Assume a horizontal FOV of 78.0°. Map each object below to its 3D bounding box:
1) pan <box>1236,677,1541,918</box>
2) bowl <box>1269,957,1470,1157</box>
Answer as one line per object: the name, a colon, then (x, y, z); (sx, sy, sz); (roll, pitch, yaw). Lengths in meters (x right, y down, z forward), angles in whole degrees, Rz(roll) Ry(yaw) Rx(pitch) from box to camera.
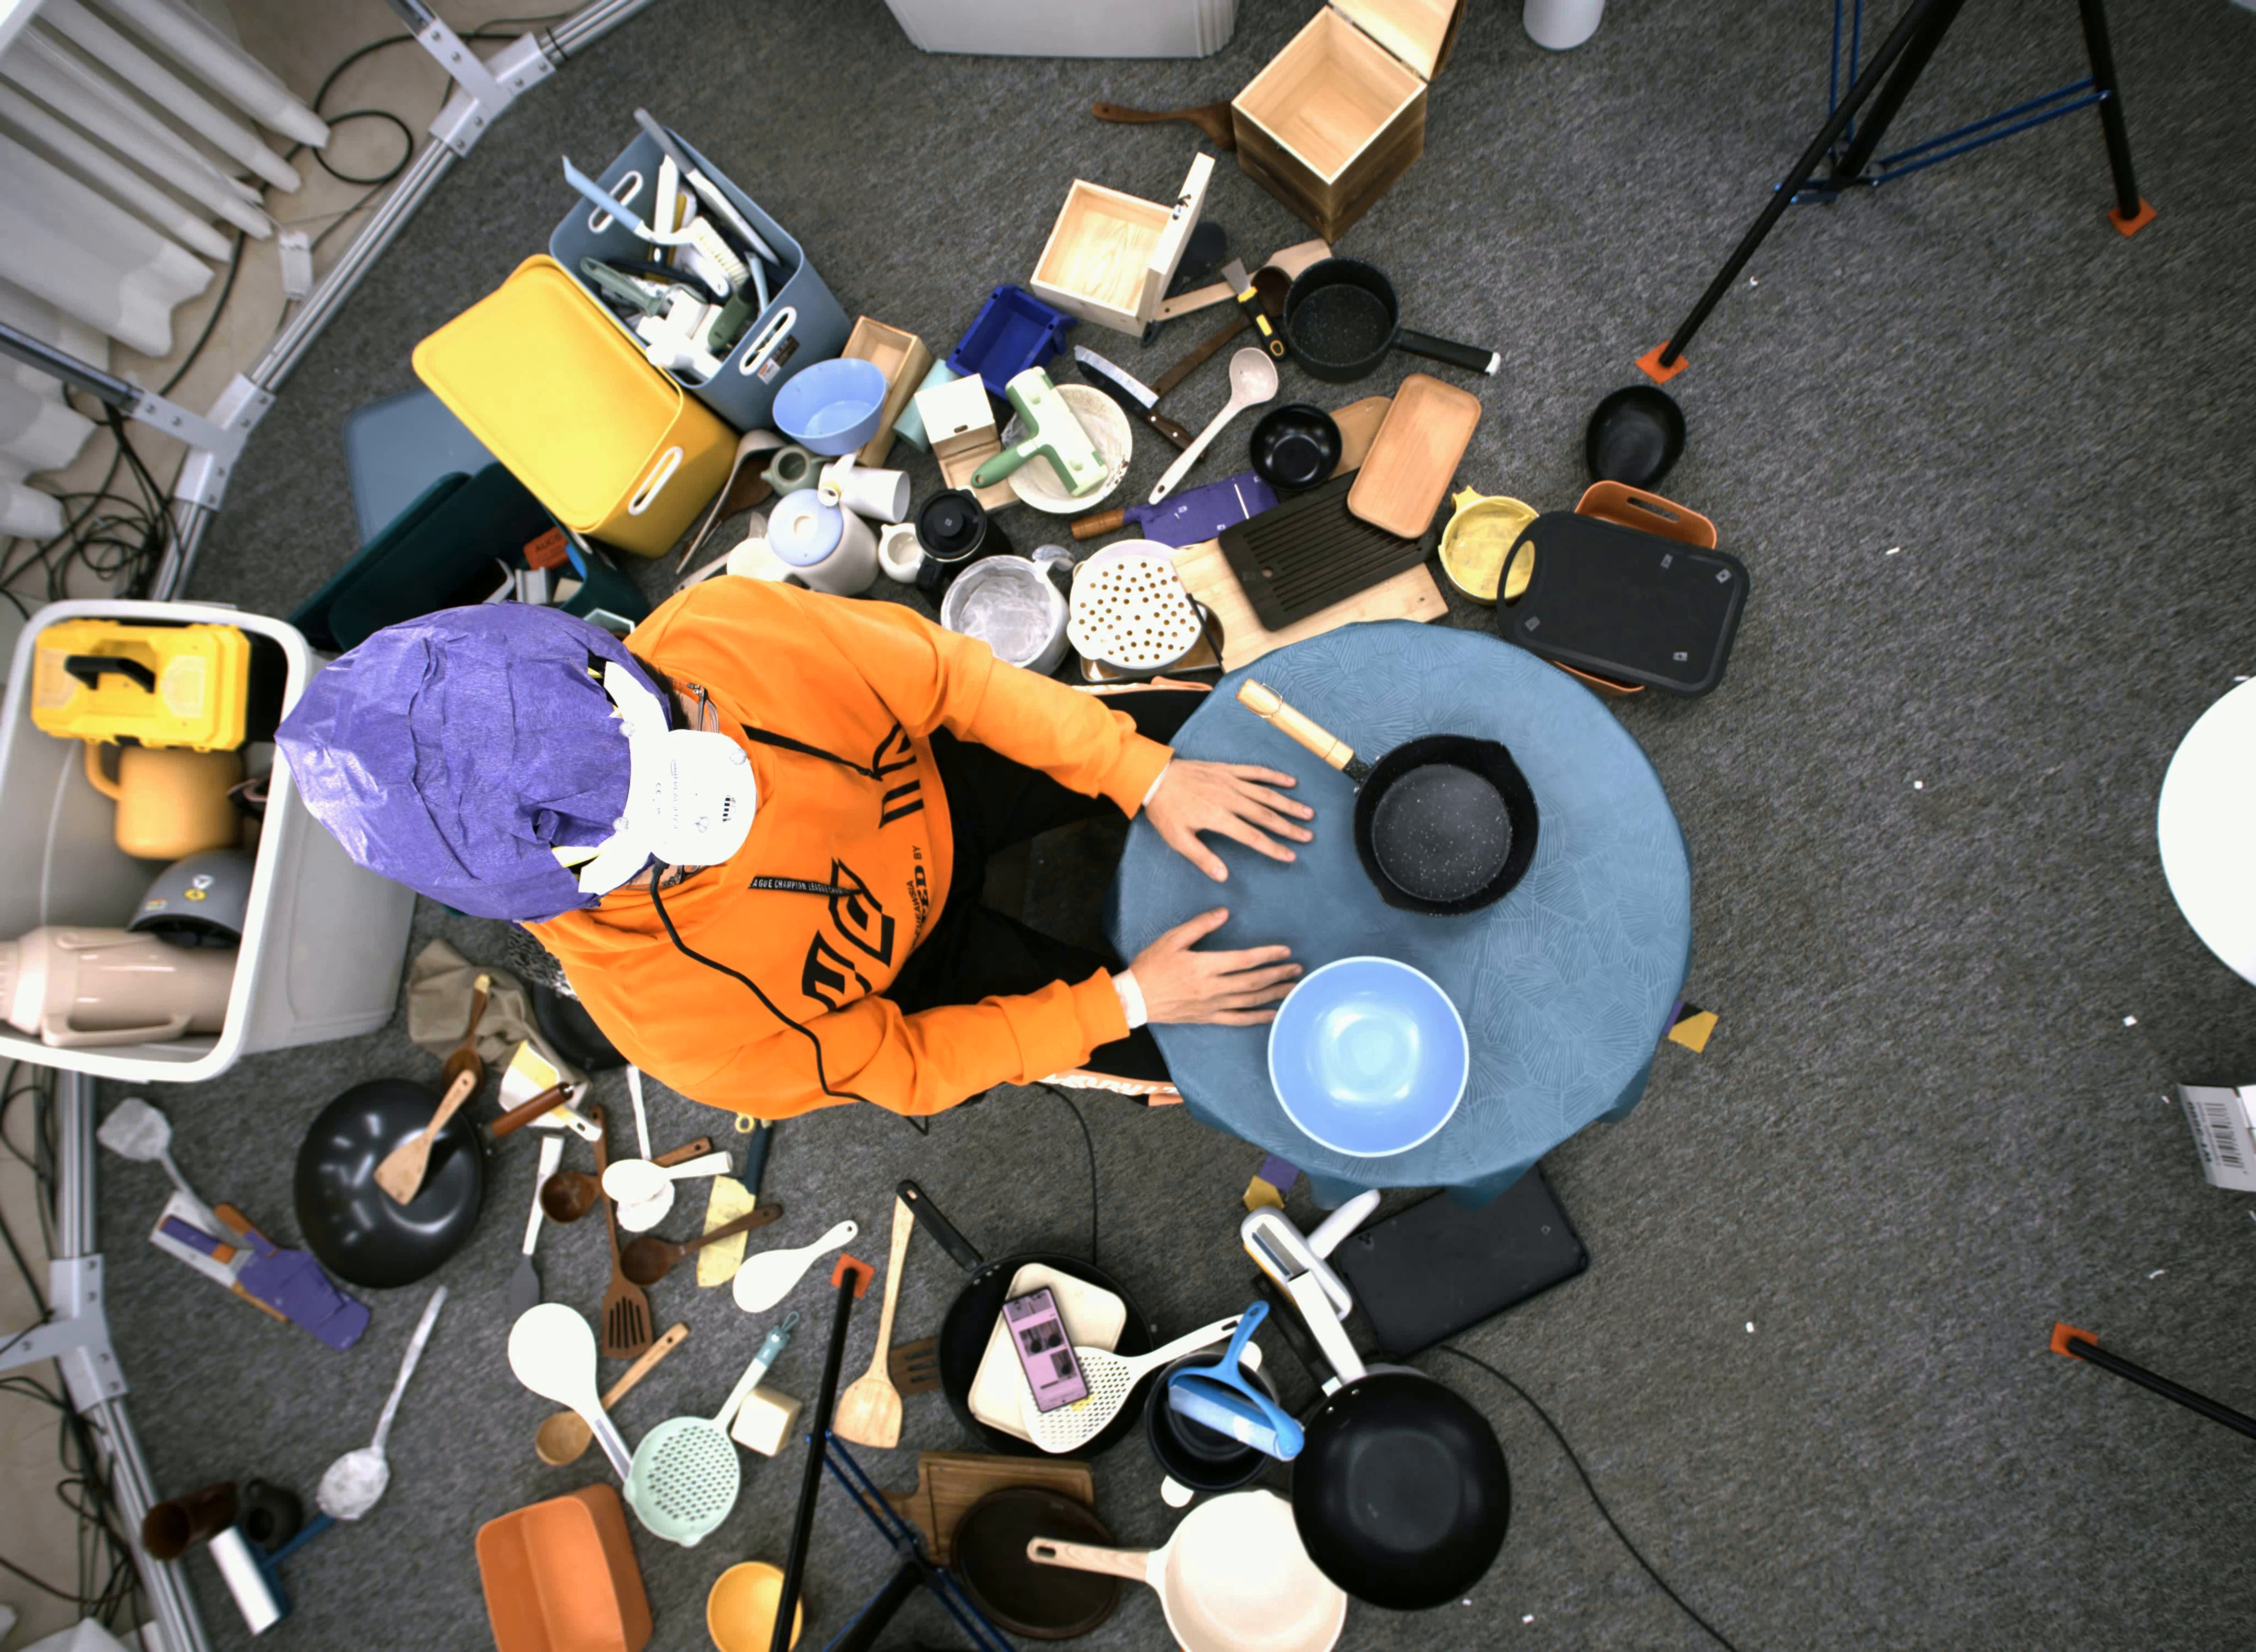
pan: (0.257, -0.043, 1.414); (0.342, 0.108, 0.208); (34, 94, 9)
bowl: (0.244, 0.230, 1.407); (0.197, 0.095, 0.196); (-1, 87, 10)
